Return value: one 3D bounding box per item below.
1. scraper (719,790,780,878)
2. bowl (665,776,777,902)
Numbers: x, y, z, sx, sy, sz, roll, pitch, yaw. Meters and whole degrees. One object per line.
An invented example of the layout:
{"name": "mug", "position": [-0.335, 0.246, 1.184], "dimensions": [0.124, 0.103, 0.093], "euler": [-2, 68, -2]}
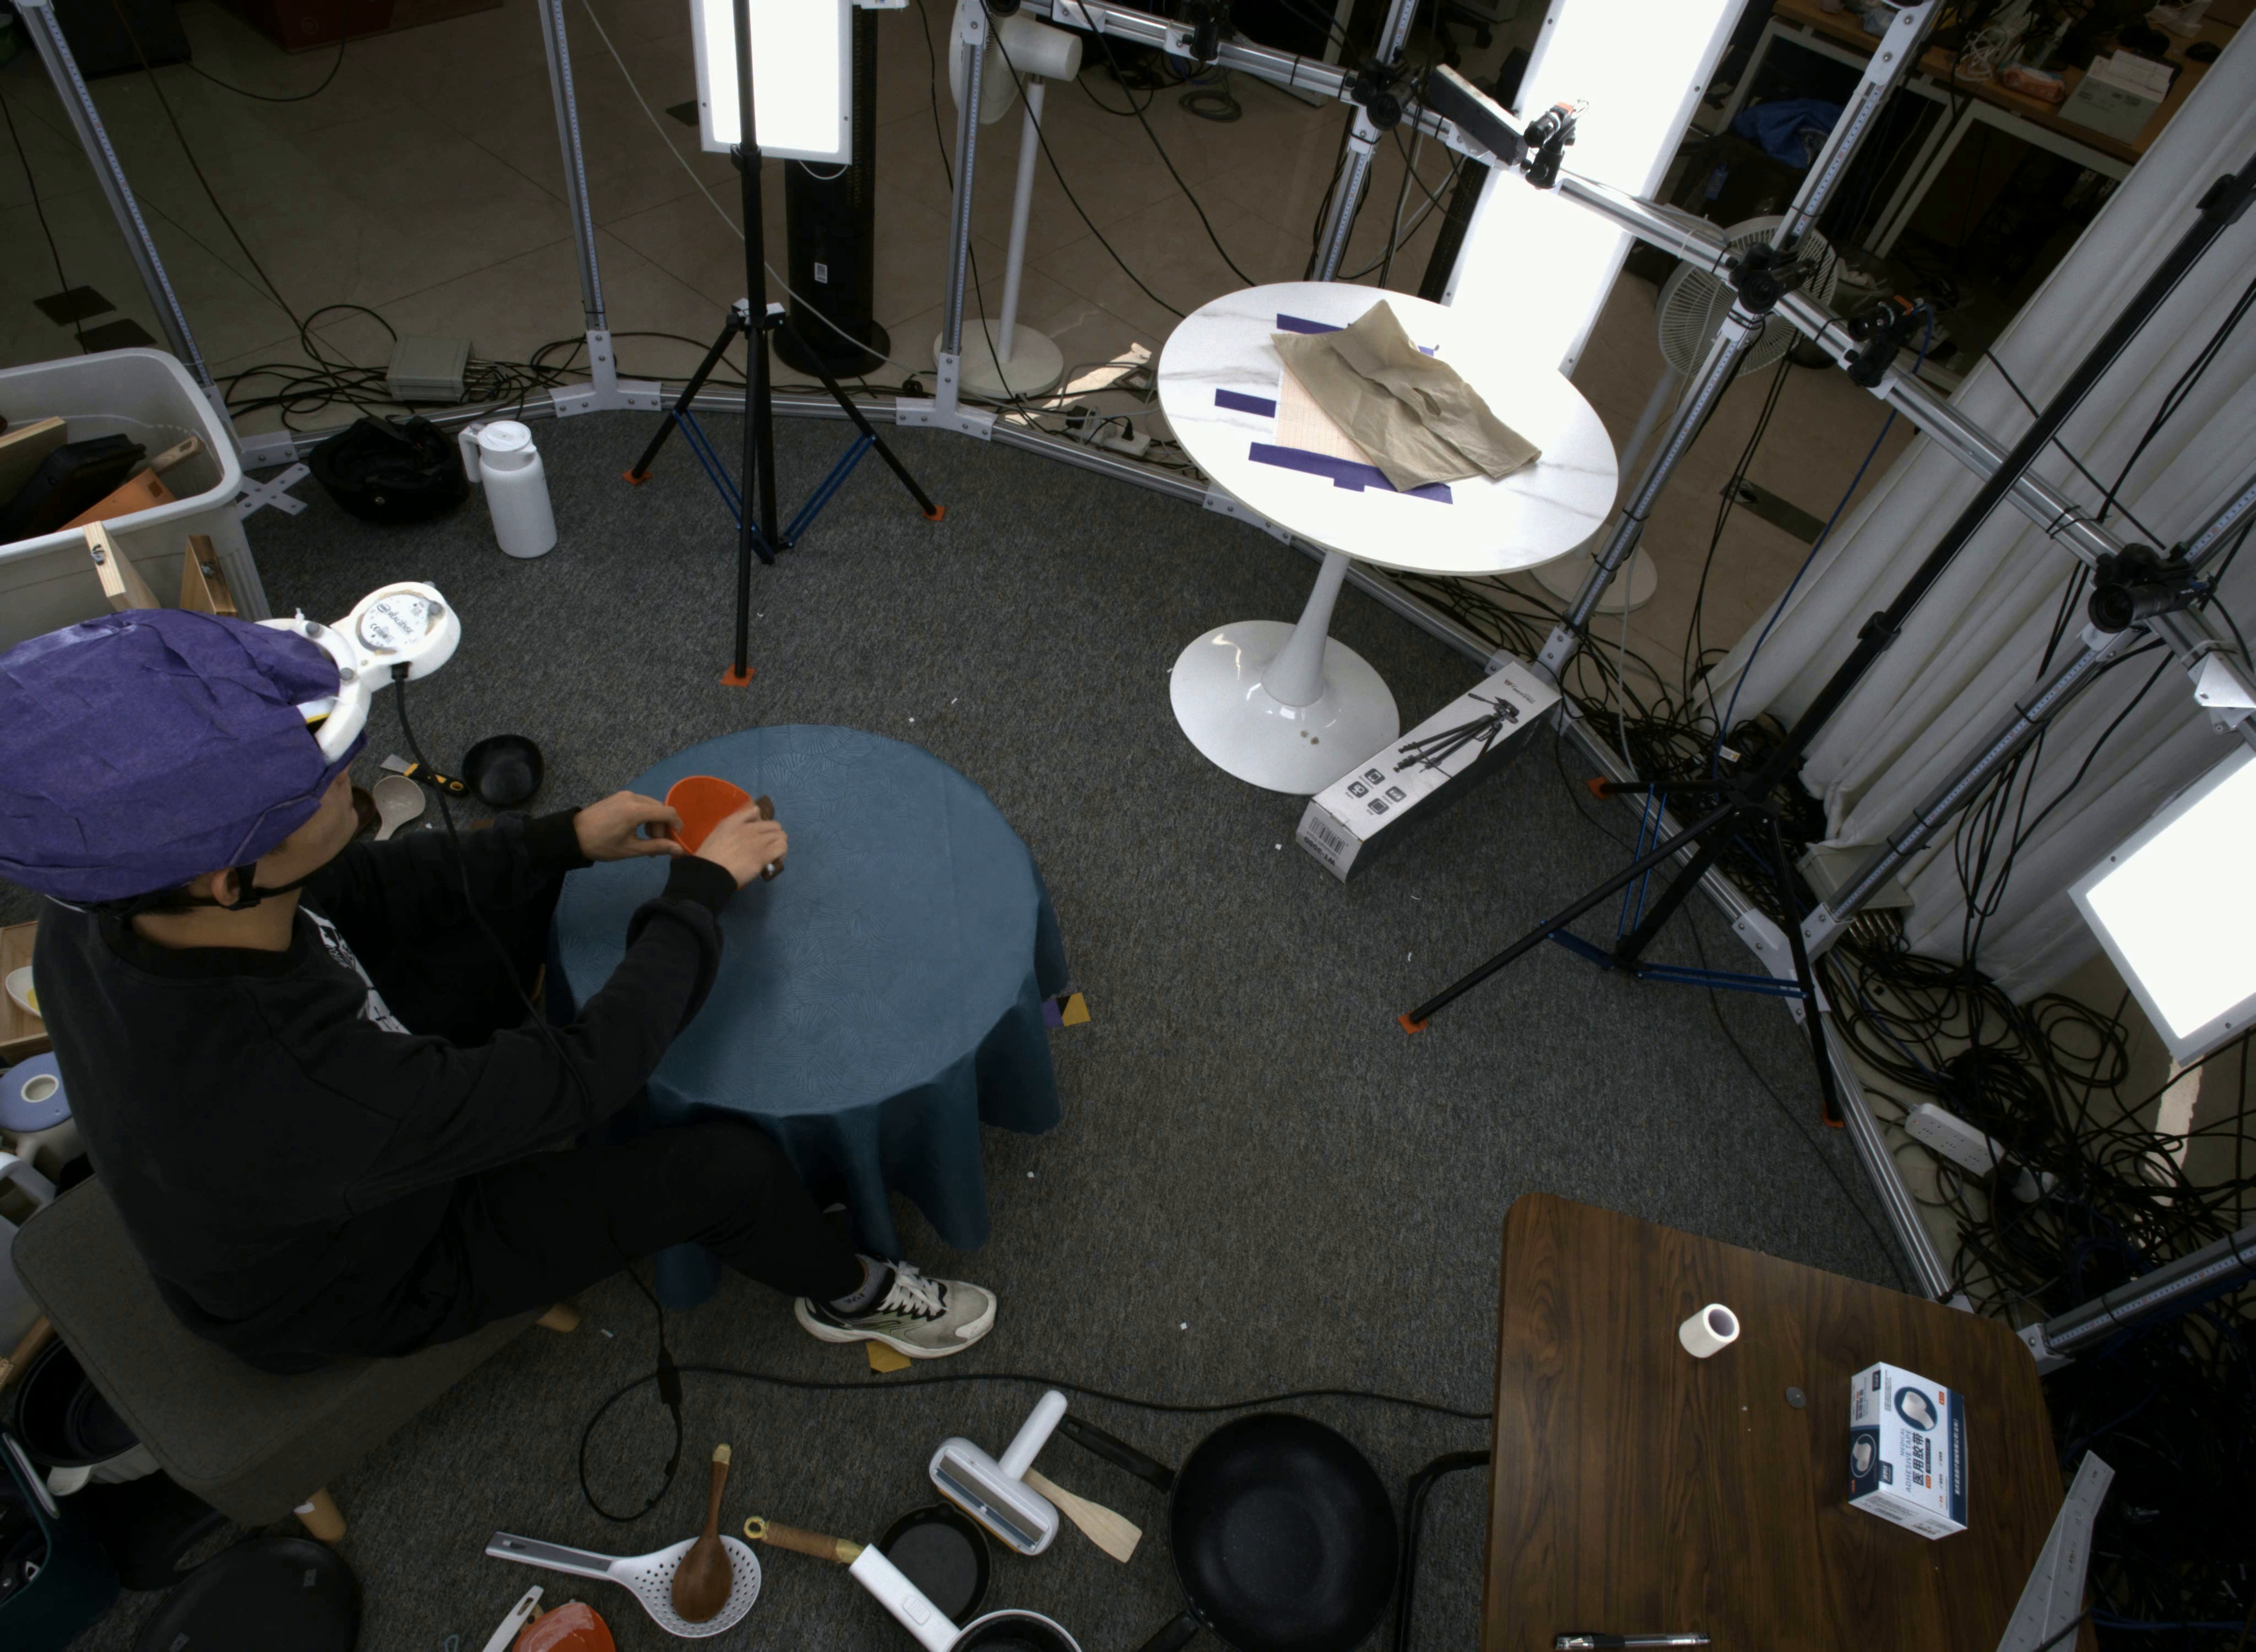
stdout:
{"name": "scraper", "position": [-0.449, 0.013, 1.562], "dimensions": [0.076, 0.011, 0.204], "euler": [-39, 33, -6]}
{"name": "bowl", "position": [-0.519, 0.025, 1.609], "dimensions": [0.150, 0.105, 0.145], "euler": [27, 31, -16]}
